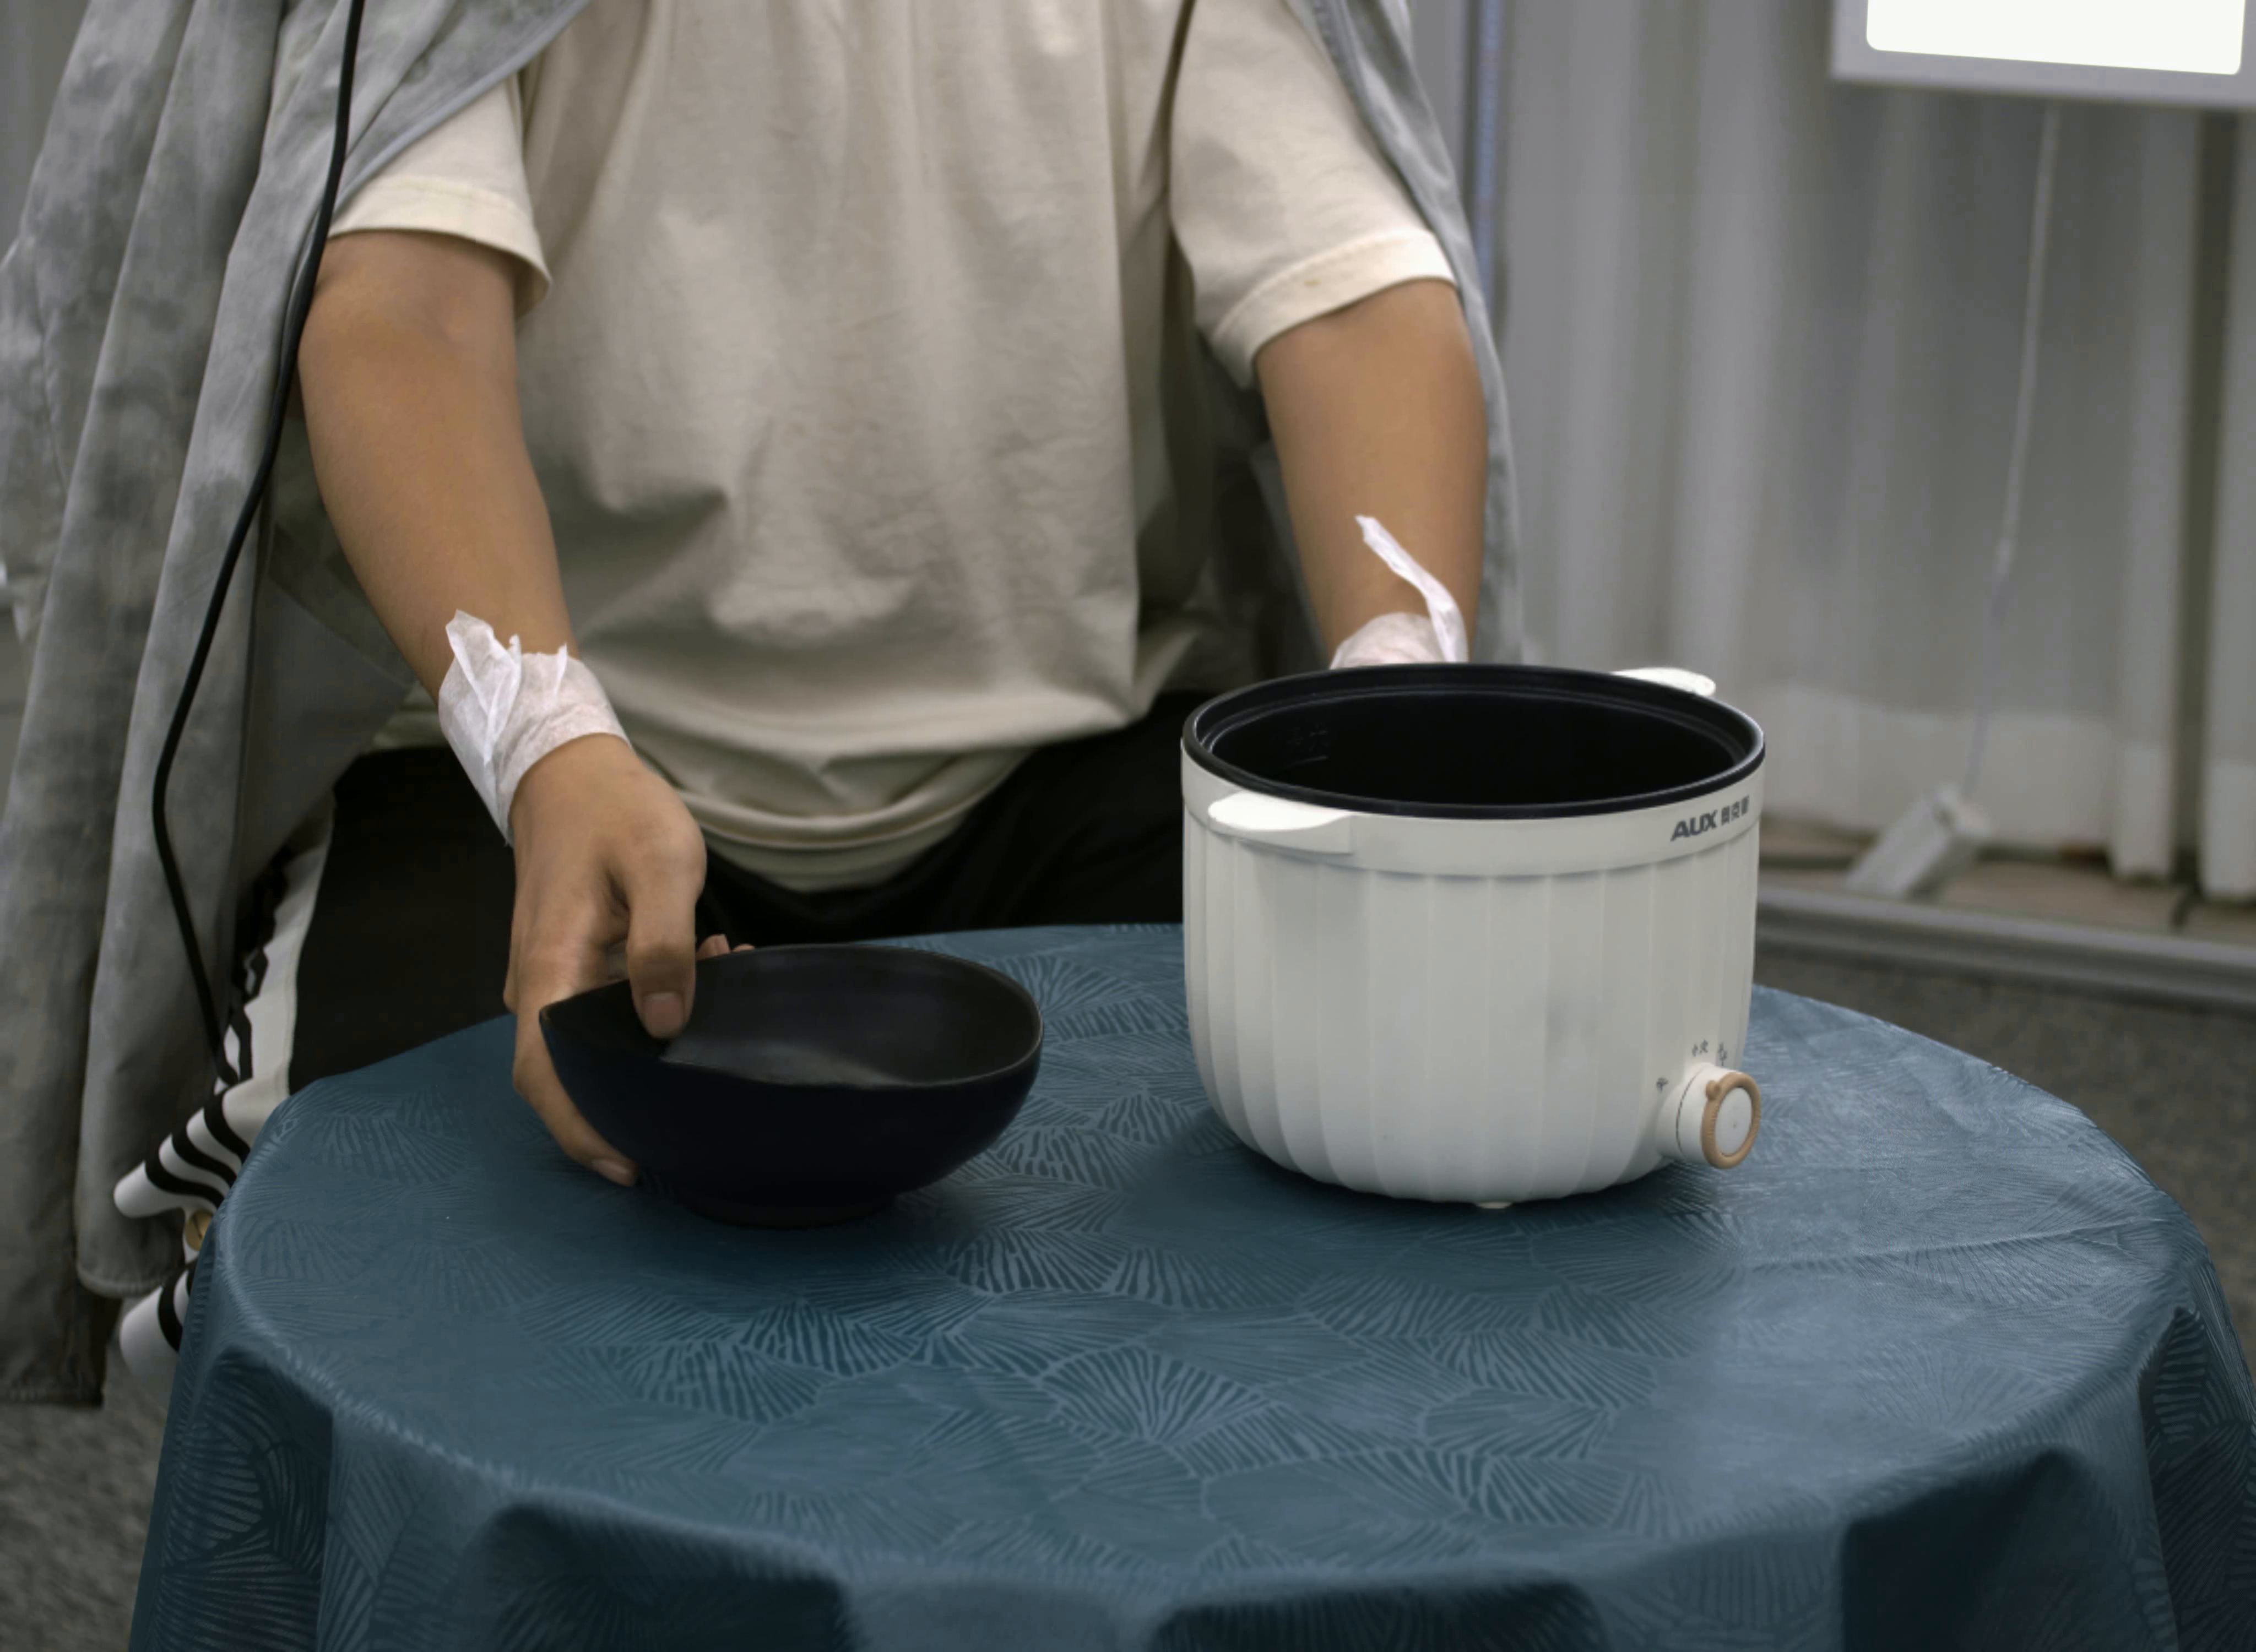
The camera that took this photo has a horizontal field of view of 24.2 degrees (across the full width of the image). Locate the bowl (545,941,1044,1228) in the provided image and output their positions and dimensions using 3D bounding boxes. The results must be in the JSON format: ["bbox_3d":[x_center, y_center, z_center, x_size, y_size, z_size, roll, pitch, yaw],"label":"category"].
[{"bbox_3d":[-0.103,0.082,1.607,0.168,0.067,0.138,11,18,37],"label":"bowl"}]

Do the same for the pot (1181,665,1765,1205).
[{"bbox_3d":[0.112,0.035,1.650,0.188,0.144,0.241,8,18,37],"label":"pot"}]
